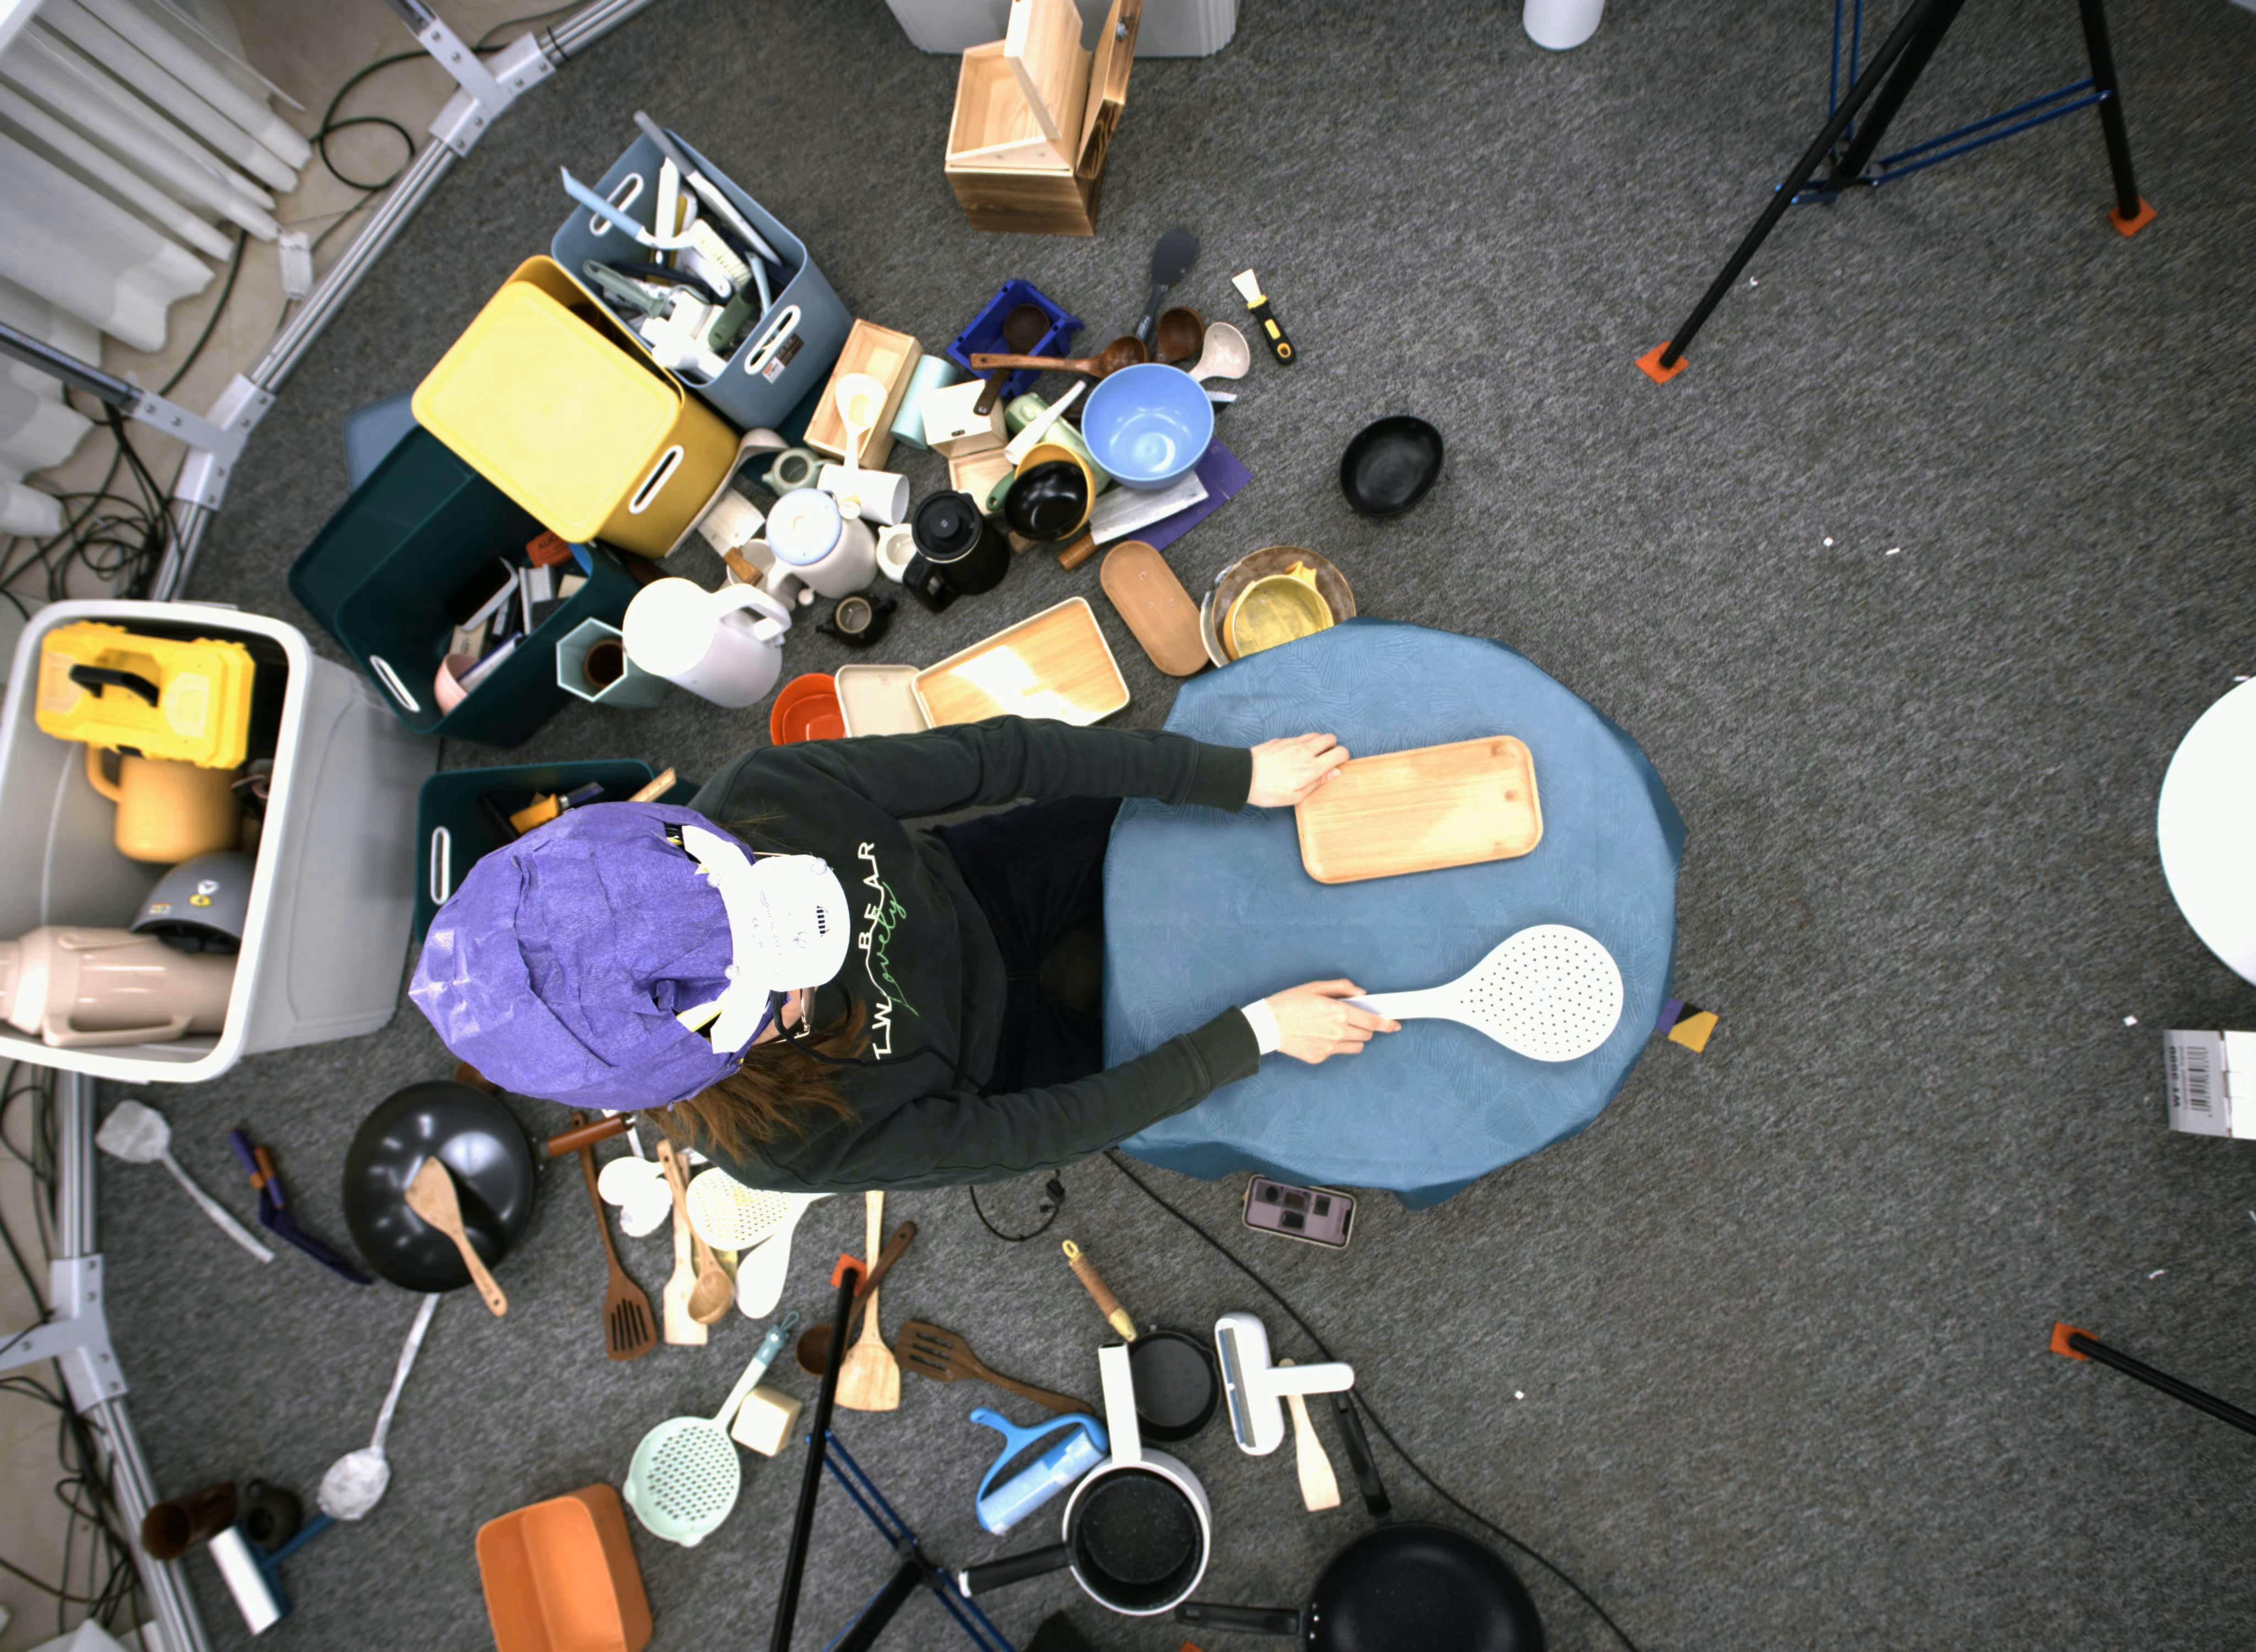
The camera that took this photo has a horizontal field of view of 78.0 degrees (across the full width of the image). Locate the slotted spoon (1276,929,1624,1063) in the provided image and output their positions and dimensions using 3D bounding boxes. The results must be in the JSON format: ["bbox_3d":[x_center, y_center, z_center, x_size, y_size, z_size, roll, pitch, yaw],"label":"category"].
[{"bbox_3d":[0.327,0.182,1.421,0.351,0.046,0.134,-5,76,10],"label":"slotted spoon"}]

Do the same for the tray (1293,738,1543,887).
[{"bbox_3d":[0.304,-0.015,1.448,0.252,0.023,0.130,-9,90,10],"label":"tray"}]
